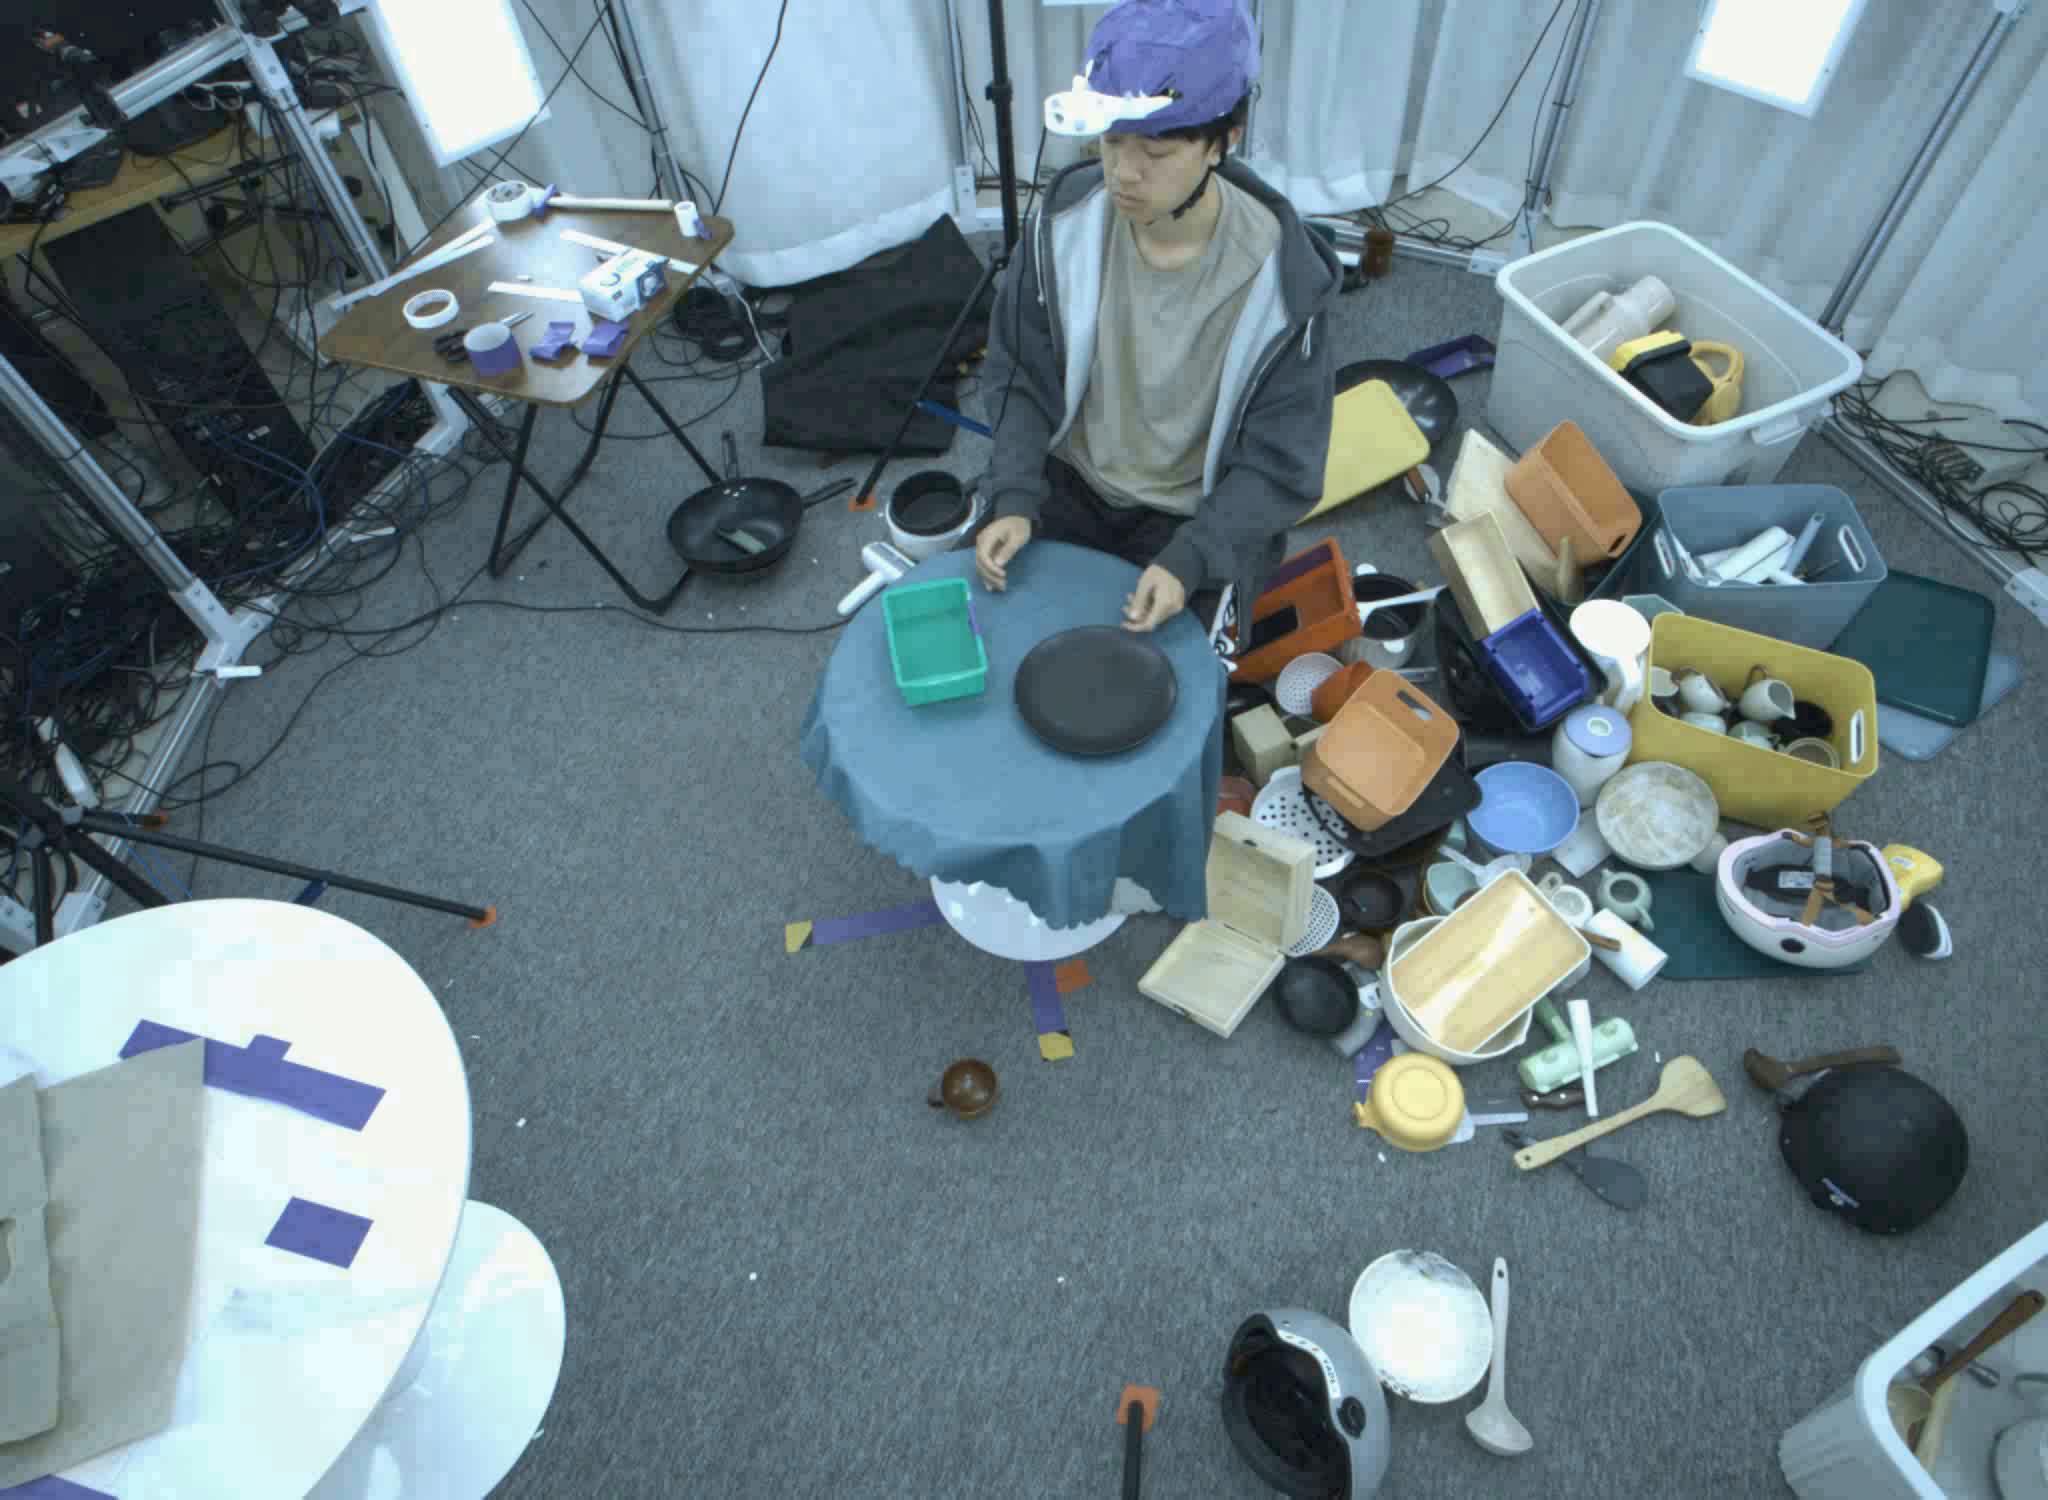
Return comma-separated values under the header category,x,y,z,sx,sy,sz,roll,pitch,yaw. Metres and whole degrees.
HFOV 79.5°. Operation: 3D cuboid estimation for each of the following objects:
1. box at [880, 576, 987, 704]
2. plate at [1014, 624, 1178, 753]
category,x,y,z,sx,sy,sz,roll,pitch,yaw
box,-0.138,-0.166,1.874,0.139,0.066,0.207,-10,53,-7
plate,0.106,-0.090,1.836,0.244,0.024,0.242,-1,55,2
